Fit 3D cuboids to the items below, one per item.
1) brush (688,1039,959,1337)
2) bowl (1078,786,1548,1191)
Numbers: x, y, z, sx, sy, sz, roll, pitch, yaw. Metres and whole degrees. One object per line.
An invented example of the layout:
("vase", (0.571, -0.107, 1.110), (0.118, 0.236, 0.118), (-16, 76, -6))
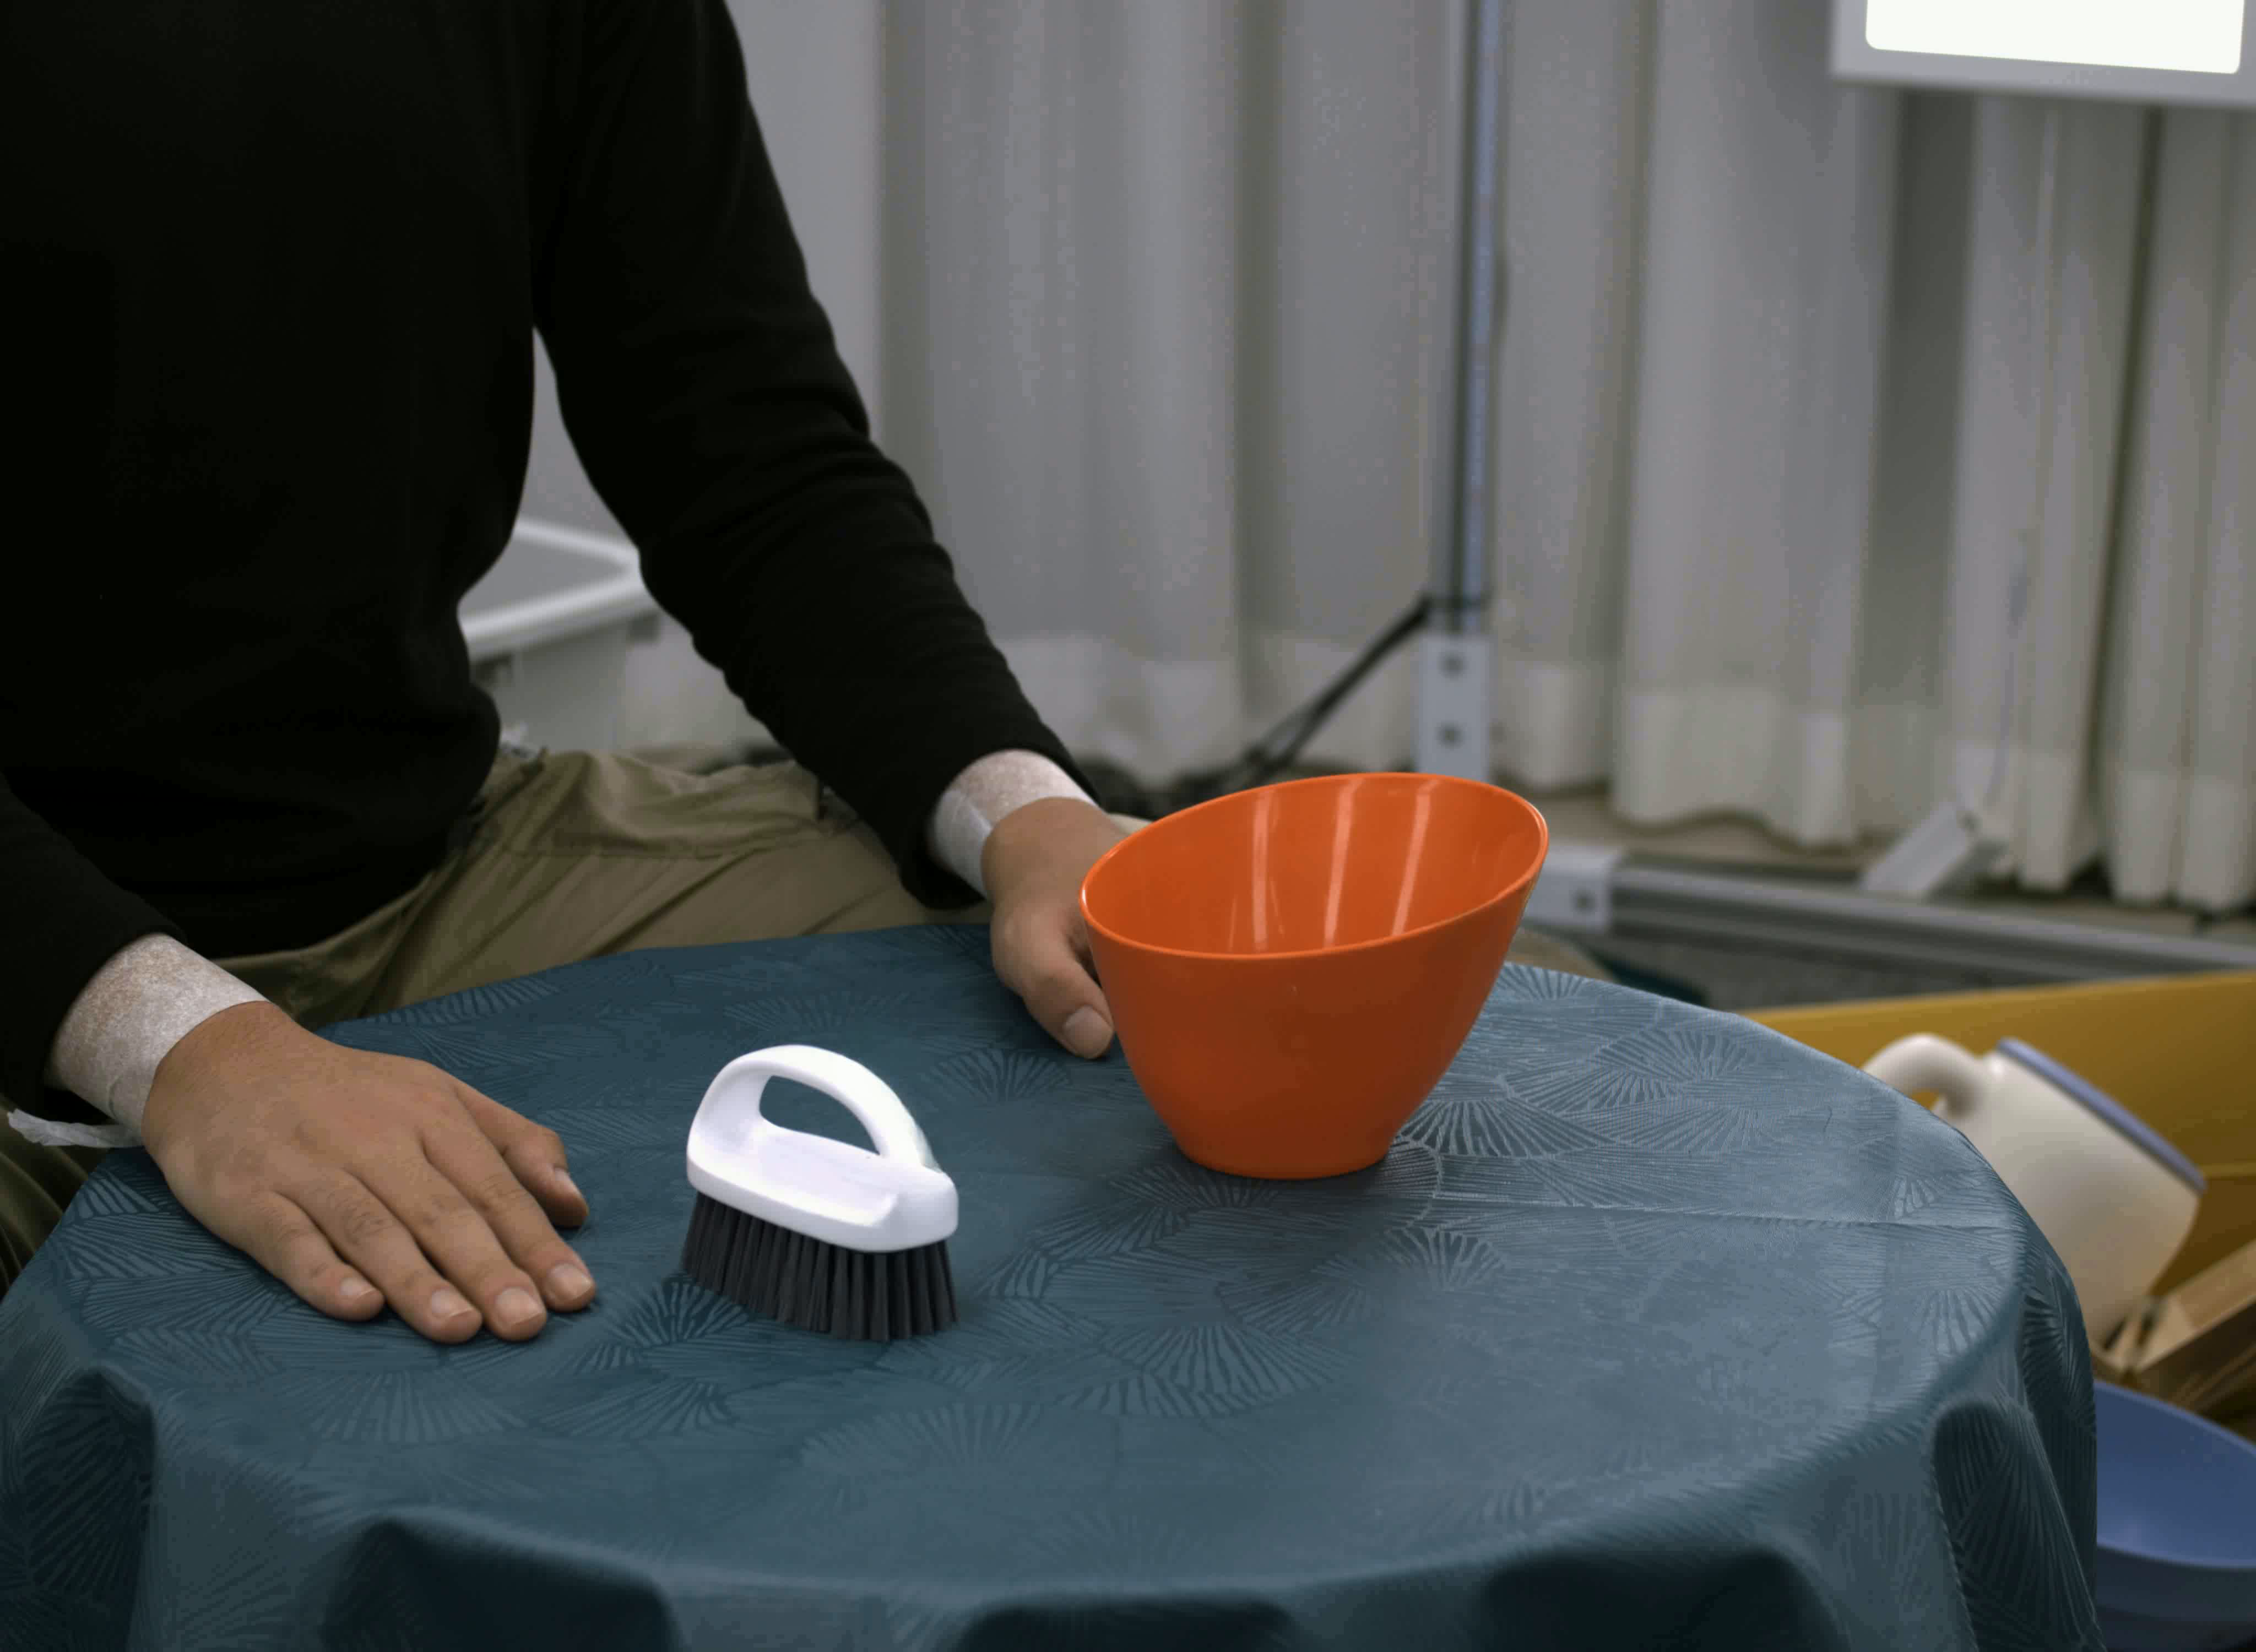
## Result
("brush", (-0.090, 0.099, 1.525), (0.050, 0.073, 0.098), (-14, 21, -38))
("bowl", (0.059, 0.054, 1.653), (0.147, 0.105, 0.147), (-1, 15, 1))
